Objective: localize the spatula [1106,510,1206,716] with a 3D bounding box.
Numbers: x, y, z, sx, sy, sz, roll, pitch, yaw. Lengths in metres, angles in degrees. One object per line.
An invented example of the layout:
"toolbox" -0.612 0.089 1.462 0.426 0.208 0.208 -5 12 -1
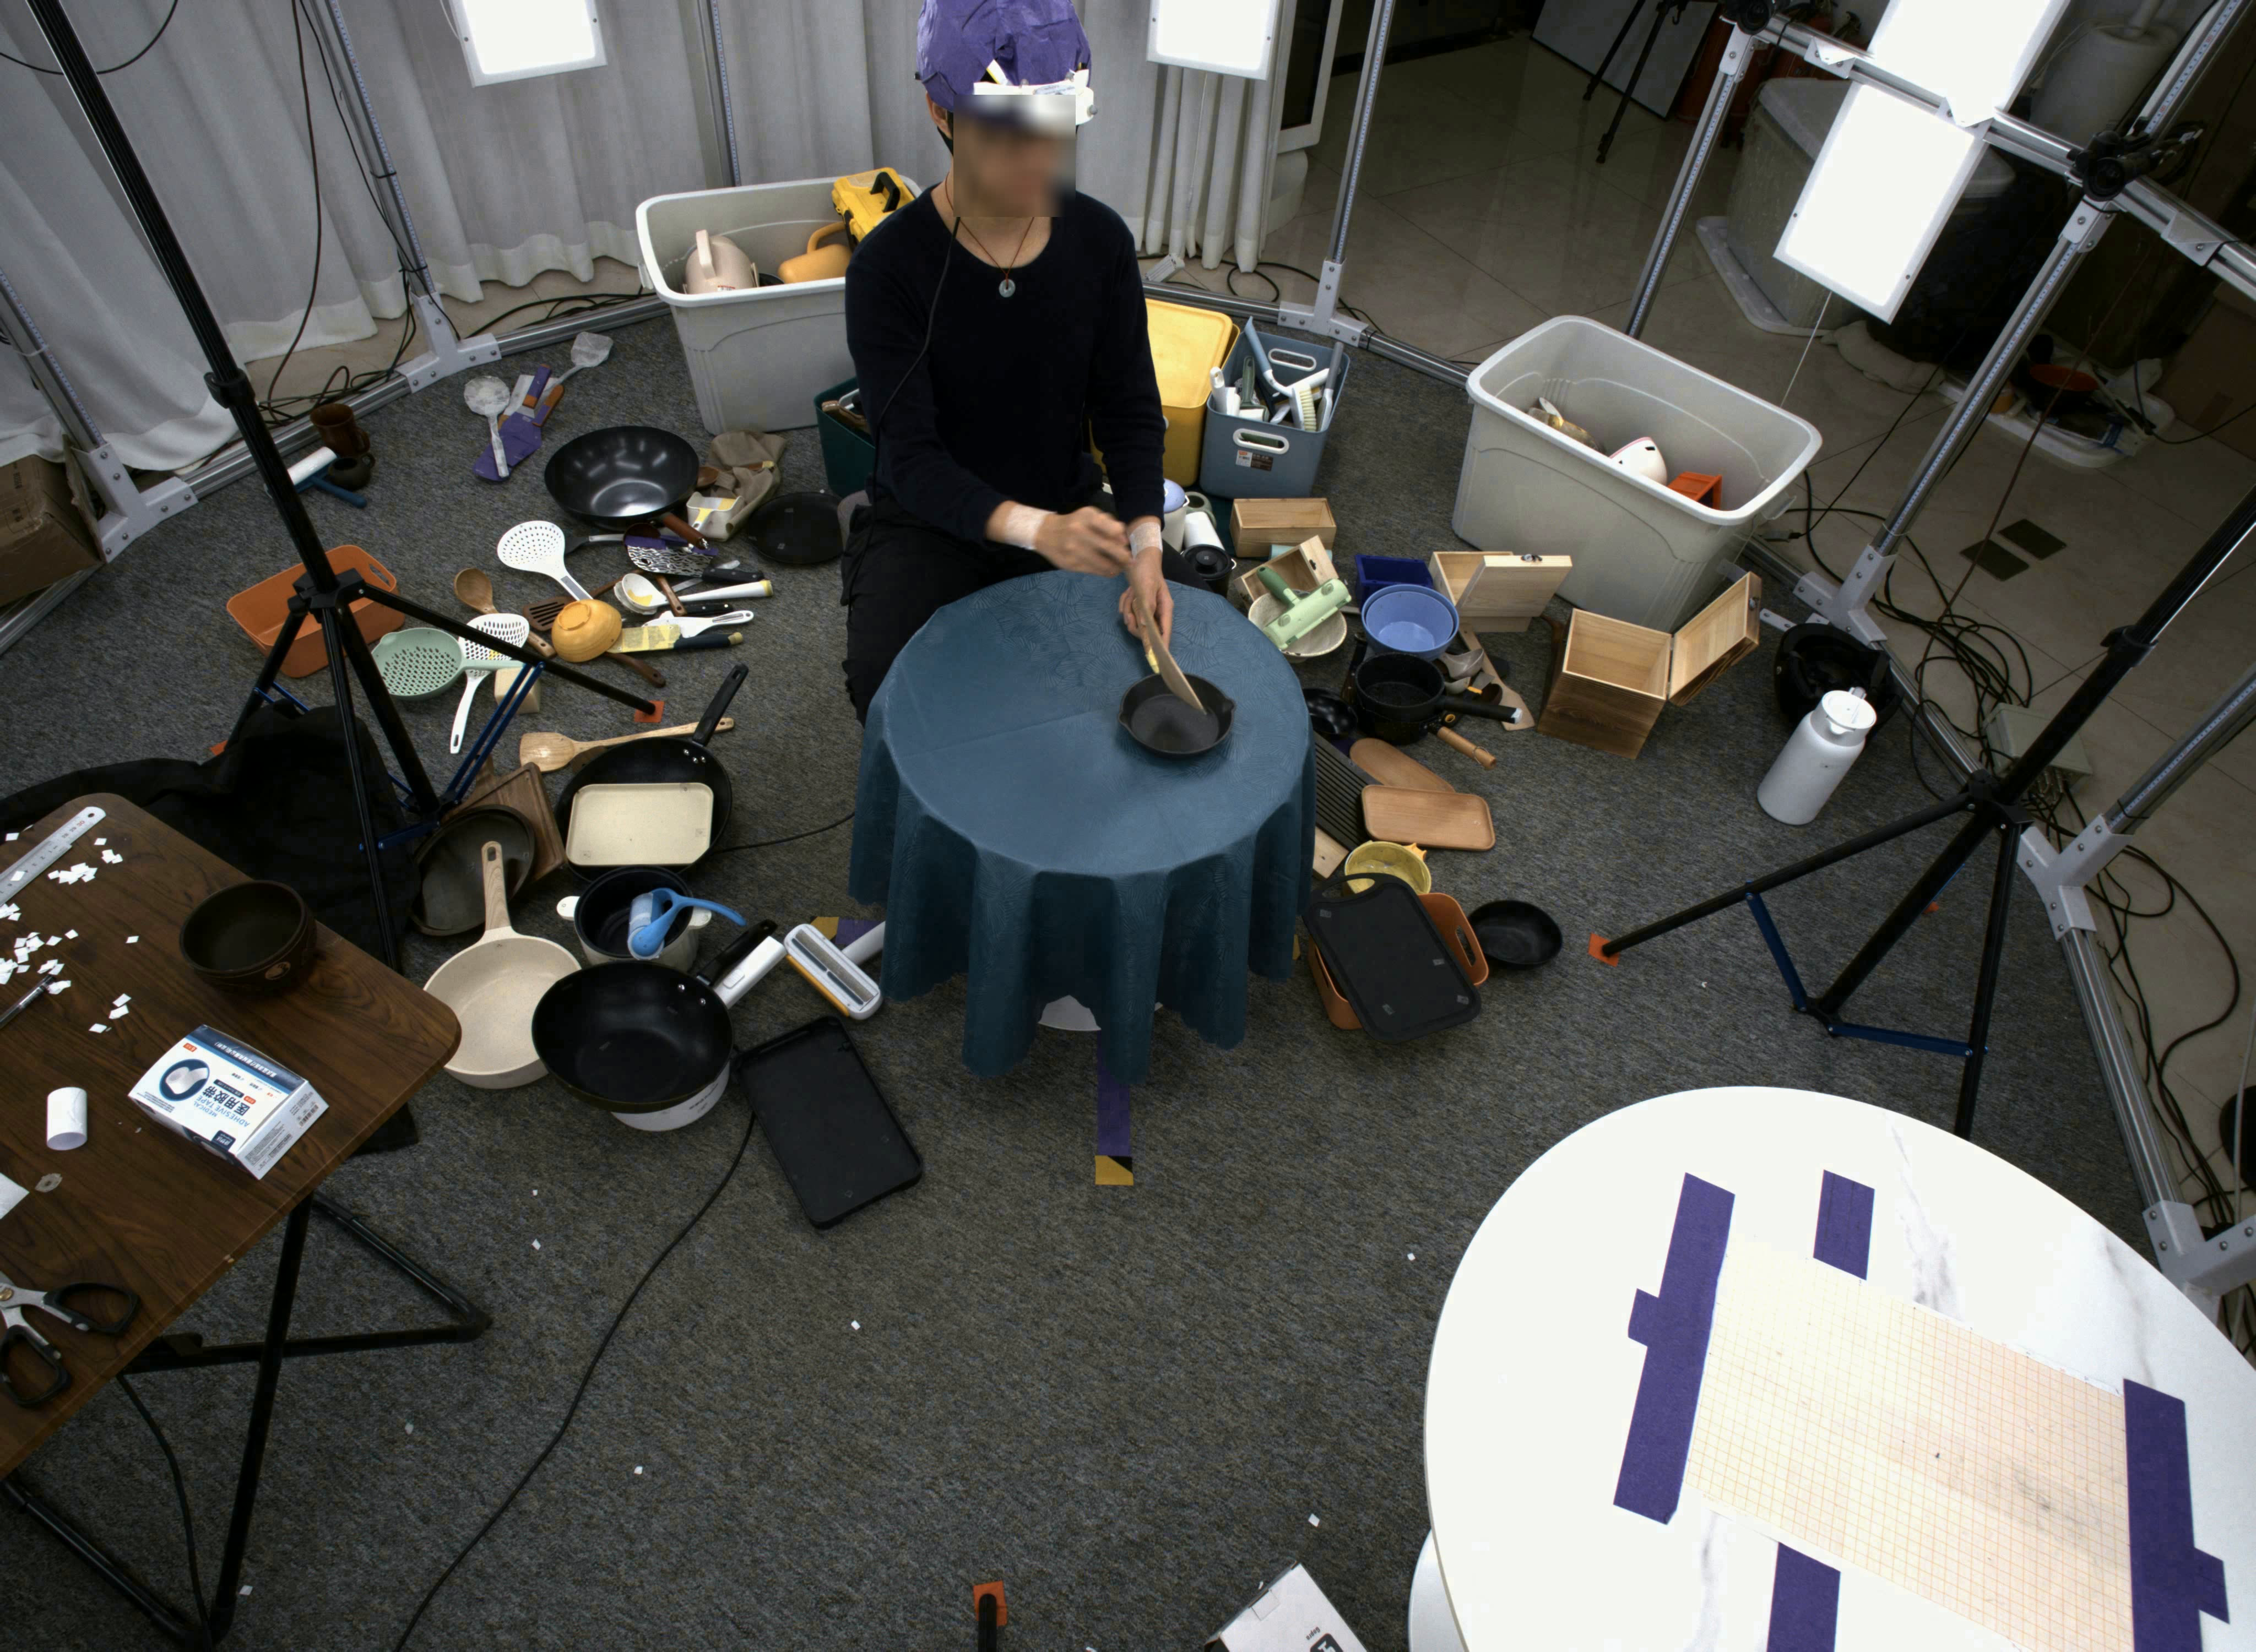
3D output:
"spatula" 0.032 -0.274 1.680 0.016 0.320 0.081 -38 41 -17

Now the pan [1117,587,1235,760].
"pan" 0.050 -0.219 1.830 0.169 0.048 0.332 -7 51 -10
